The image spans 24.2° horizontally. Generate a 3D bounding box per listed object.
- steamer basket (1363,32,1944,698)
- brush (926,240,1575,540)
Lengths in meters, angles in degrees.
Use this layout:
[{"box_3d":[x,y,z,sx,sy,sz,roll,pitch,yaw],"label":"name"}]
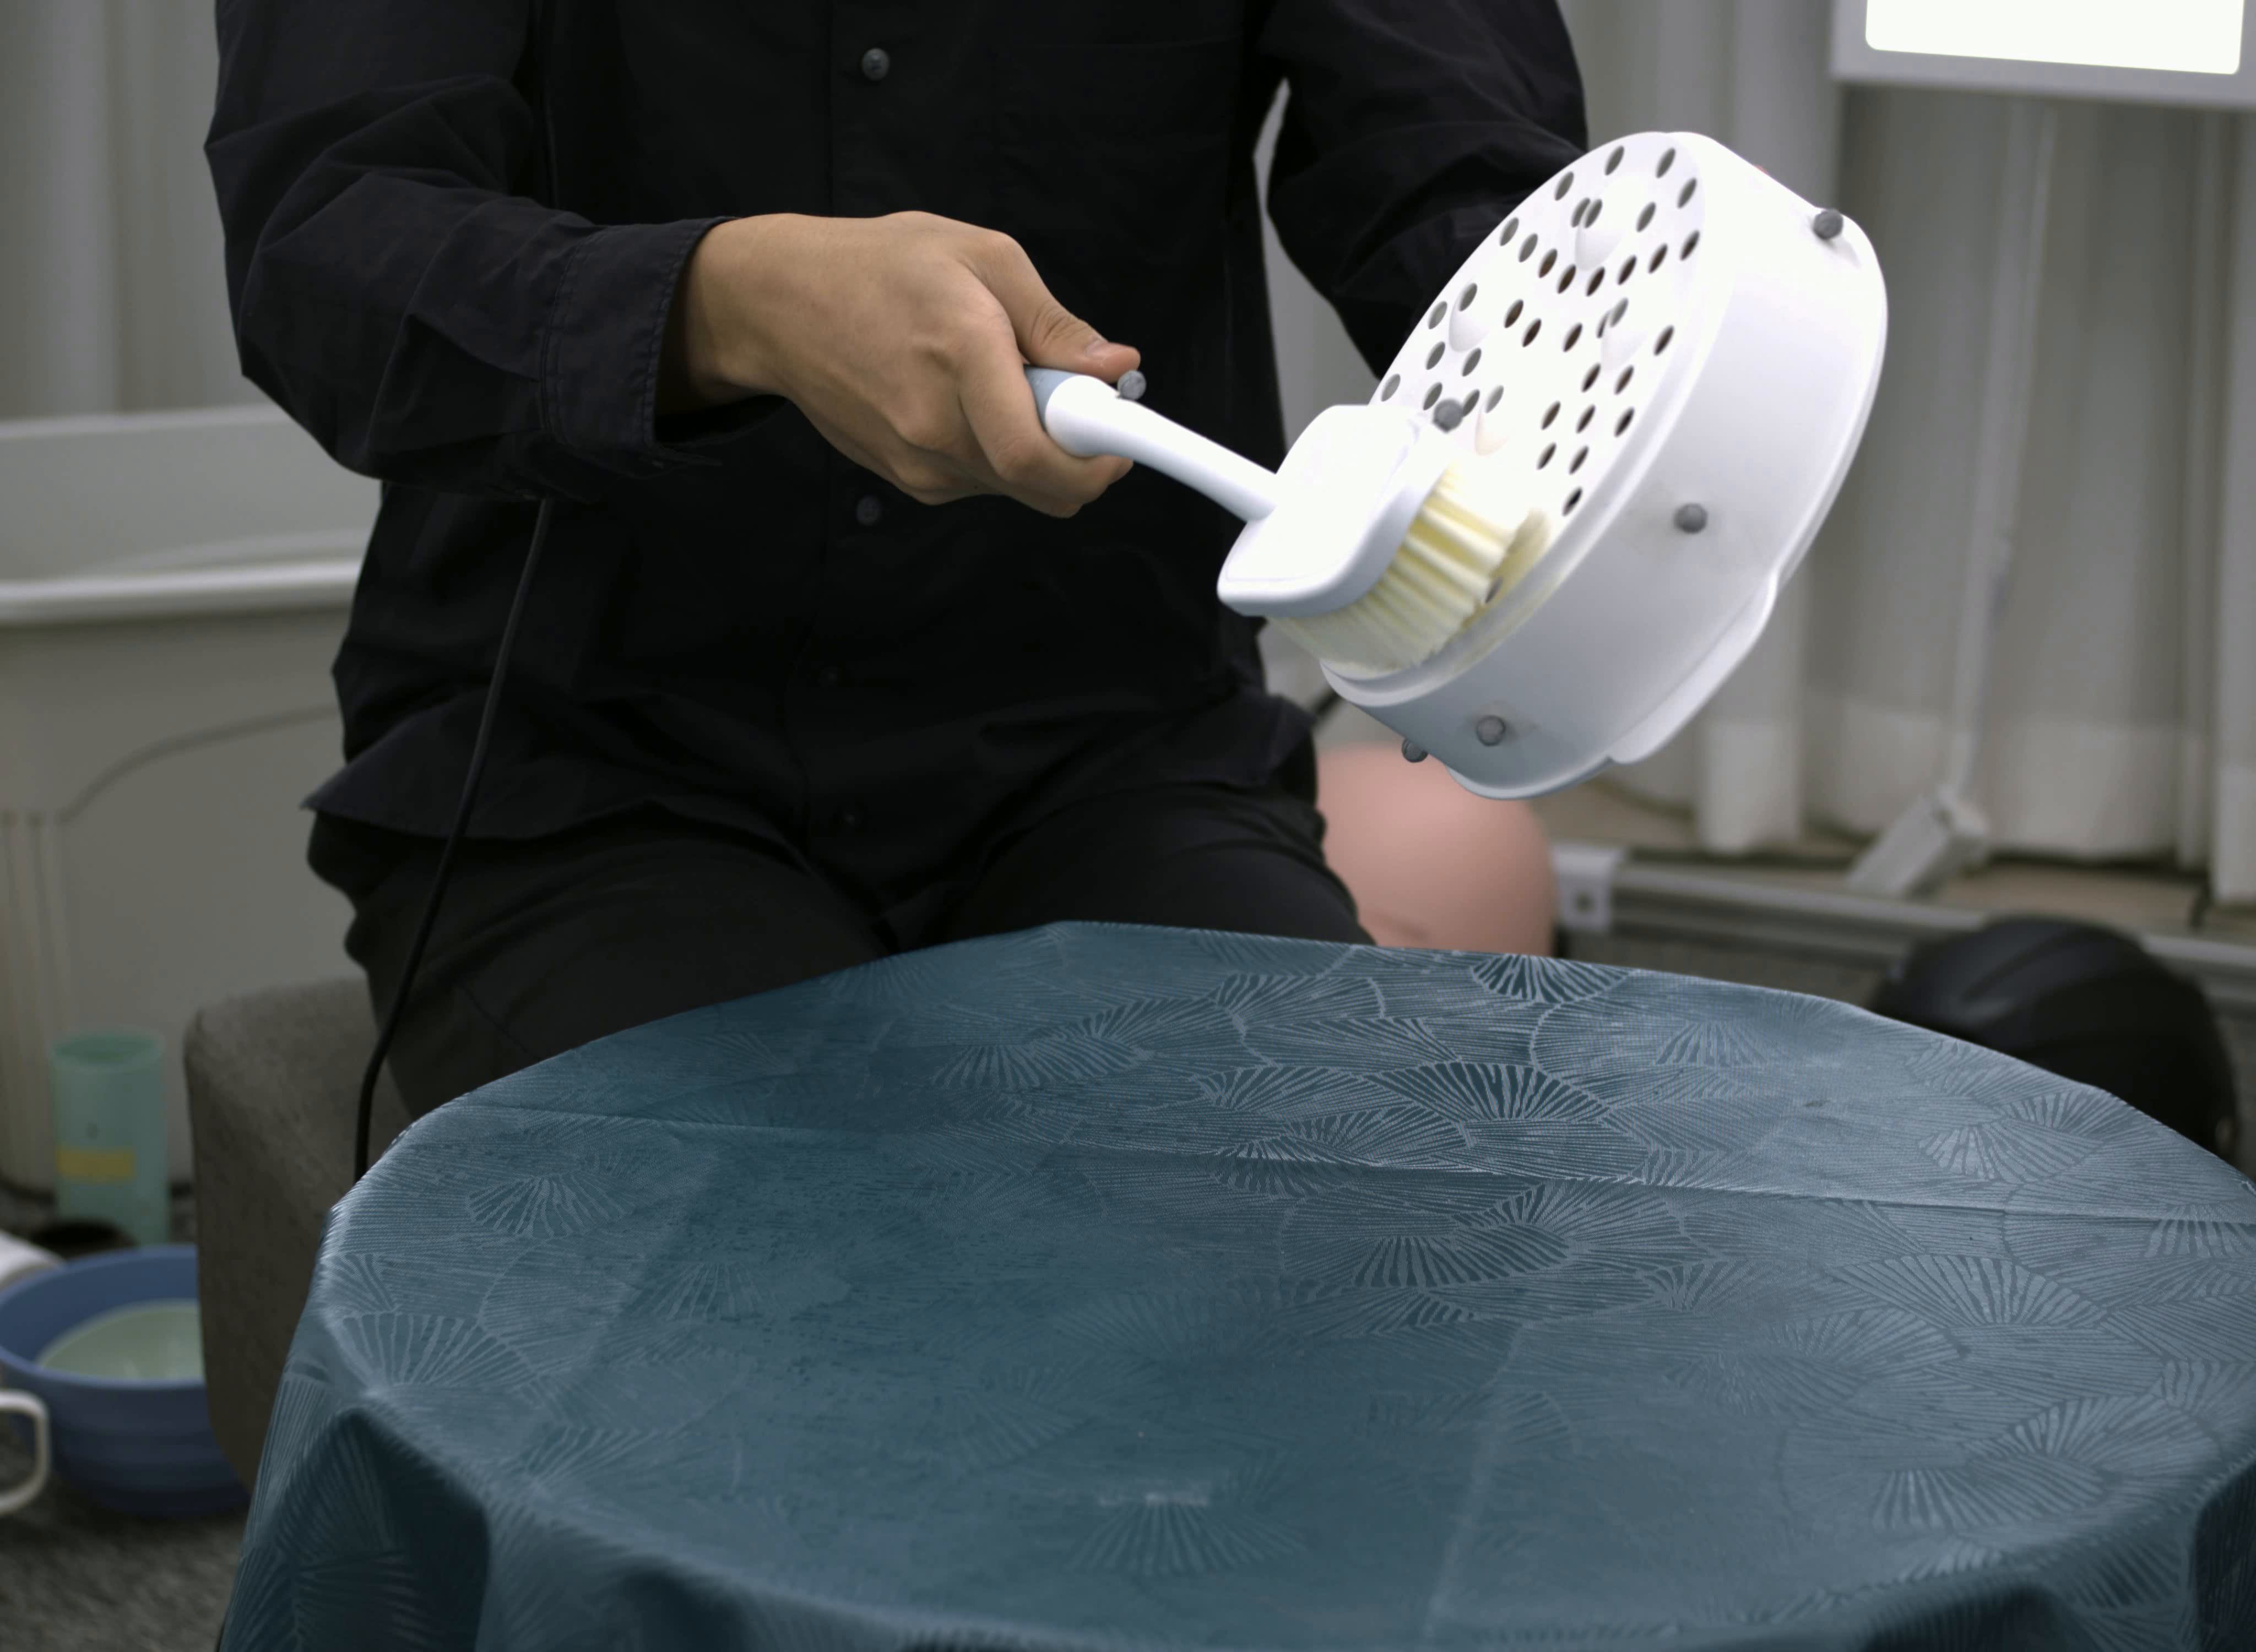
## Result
[{"box_3d":[0.150,-0.139,1.561,0.070,0.202,0.228,32,26,-22],"label":"steamer basket"},{"box_3d":[0.045,-0.139,1.606,0.083,0.085,0.321,-27,22,-22],"label":"brush"}]
